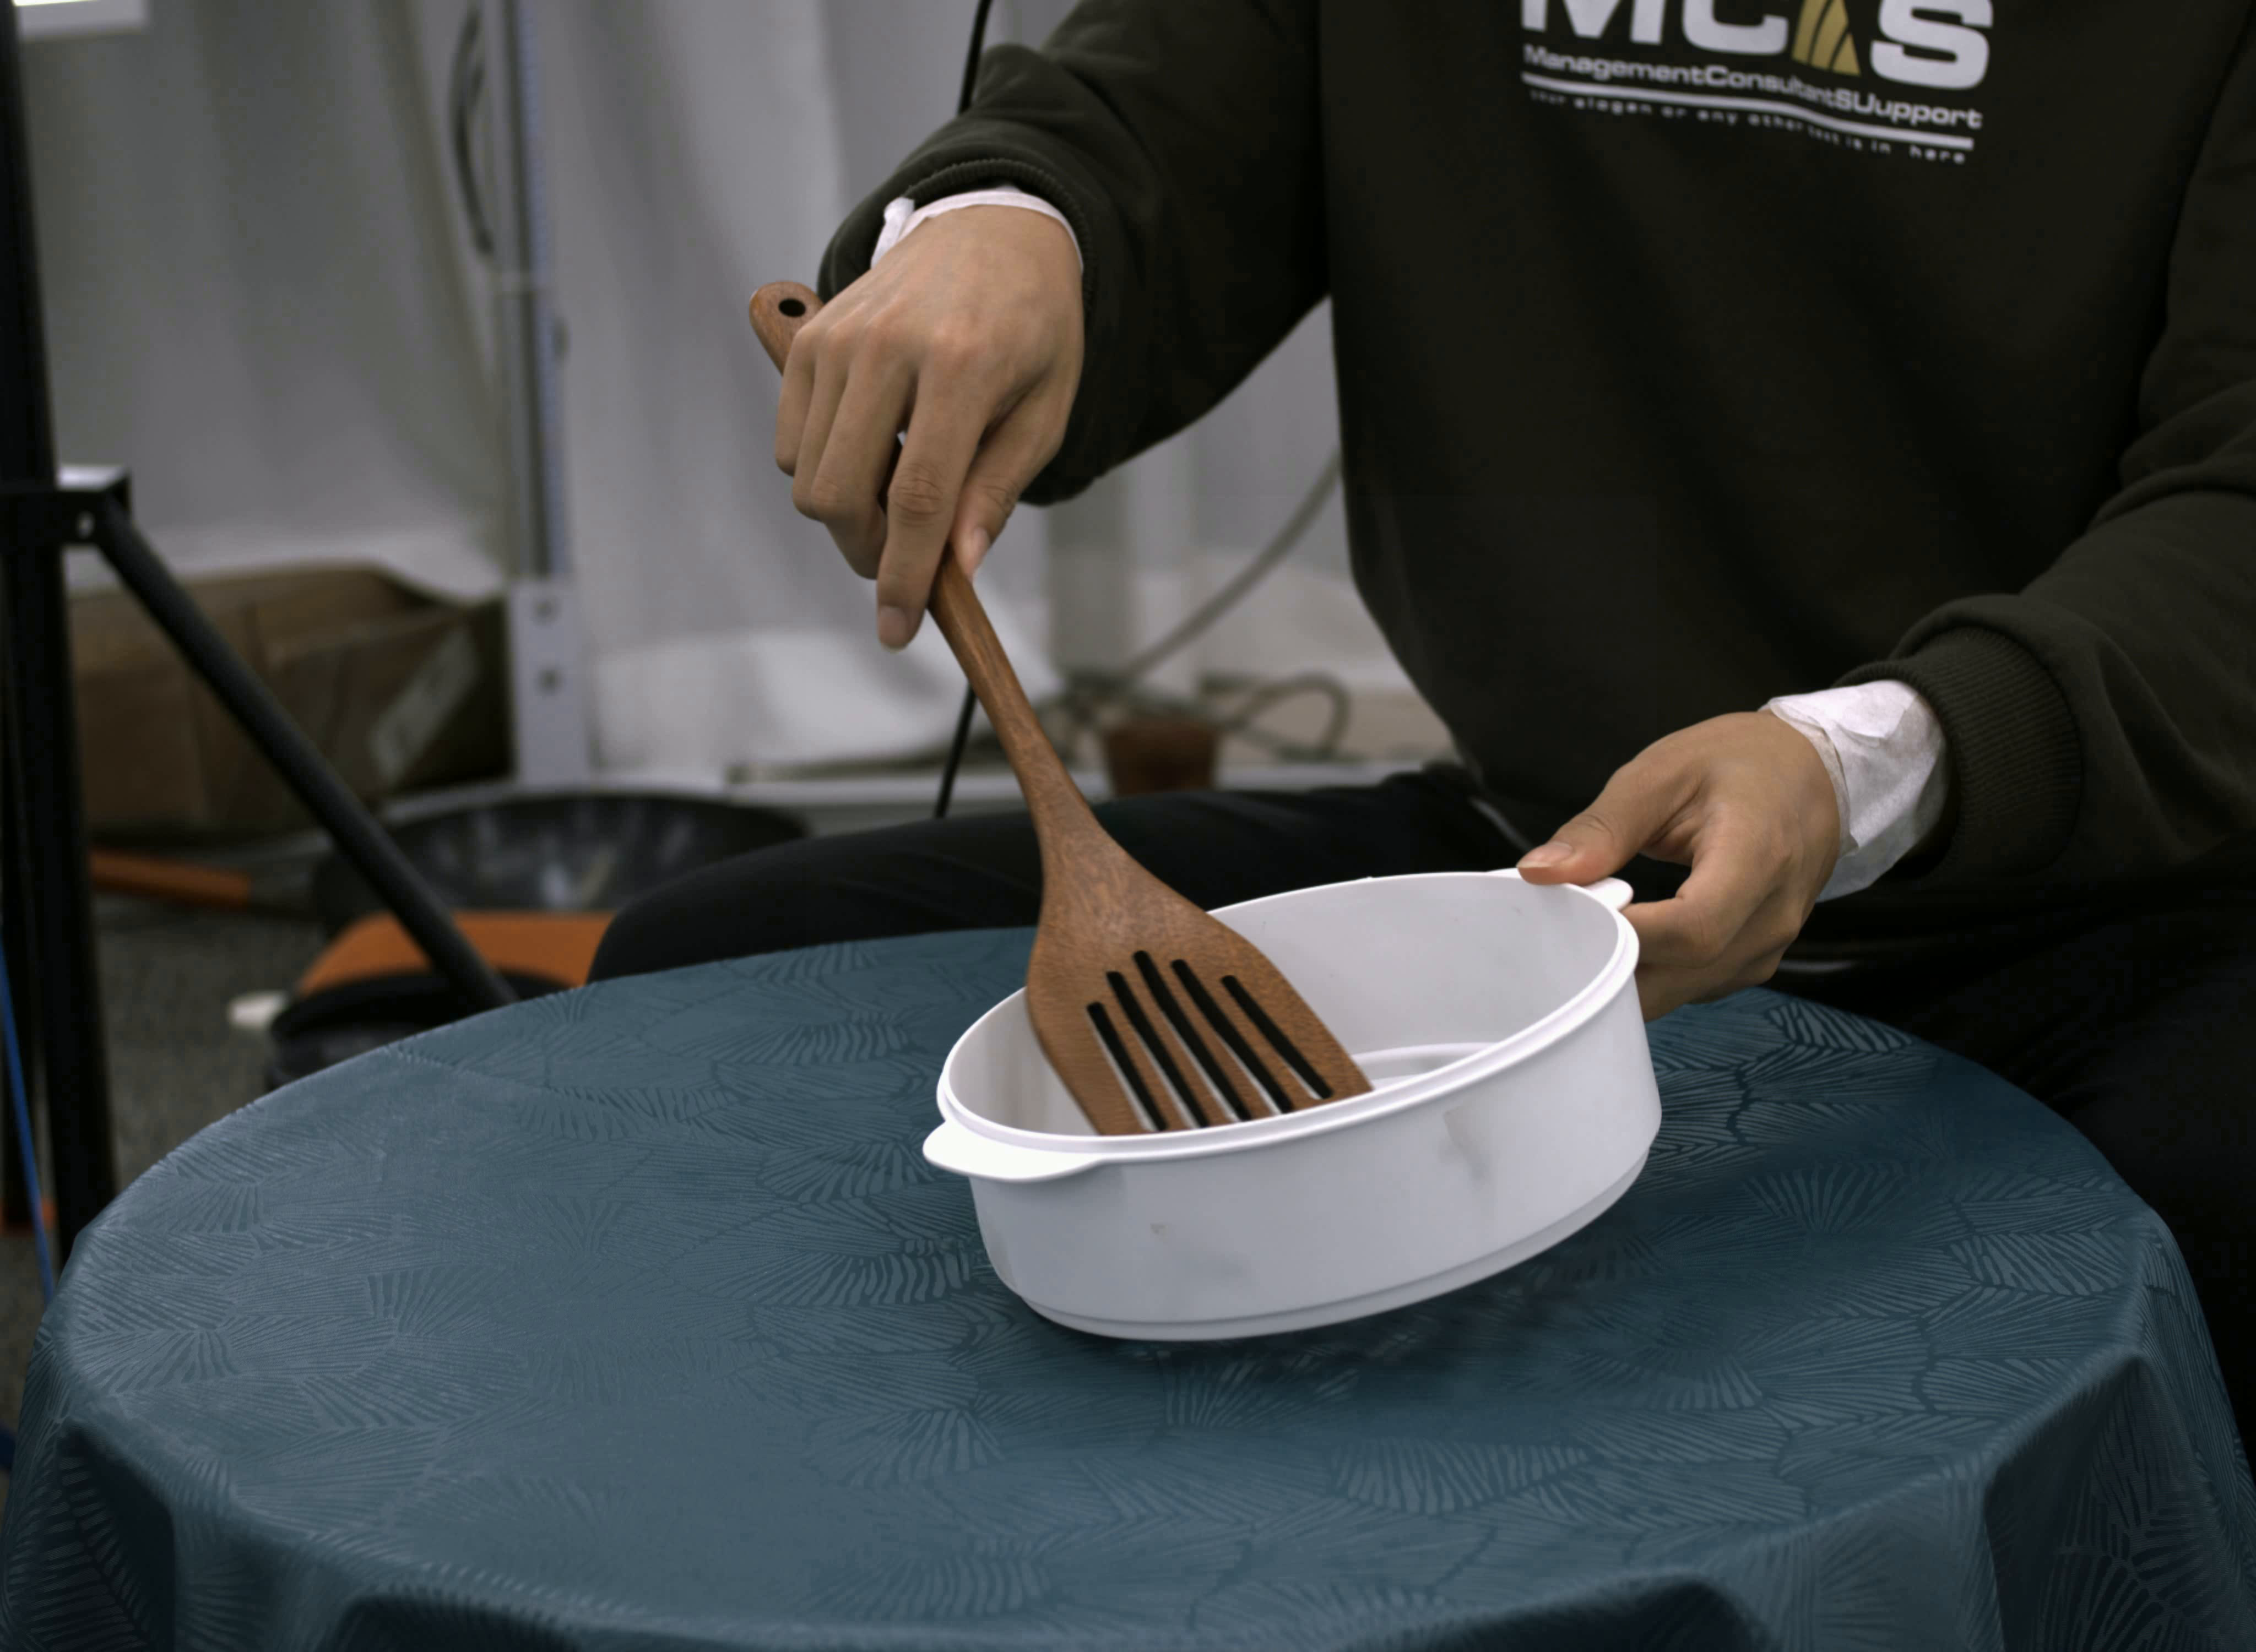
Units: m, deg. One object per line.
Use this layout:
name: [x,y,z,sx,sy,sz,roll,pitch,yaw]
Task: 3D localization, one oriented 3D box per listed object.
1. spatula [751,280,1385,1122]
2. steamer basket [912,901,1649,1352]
spatula: [-0.038,-0.036,1.584,0.084,0.023,0.393,-11,48,-22]
steamer basket: [0.047,0.084,1.483,0.226,0.069,0.206,-20,18,-32]
